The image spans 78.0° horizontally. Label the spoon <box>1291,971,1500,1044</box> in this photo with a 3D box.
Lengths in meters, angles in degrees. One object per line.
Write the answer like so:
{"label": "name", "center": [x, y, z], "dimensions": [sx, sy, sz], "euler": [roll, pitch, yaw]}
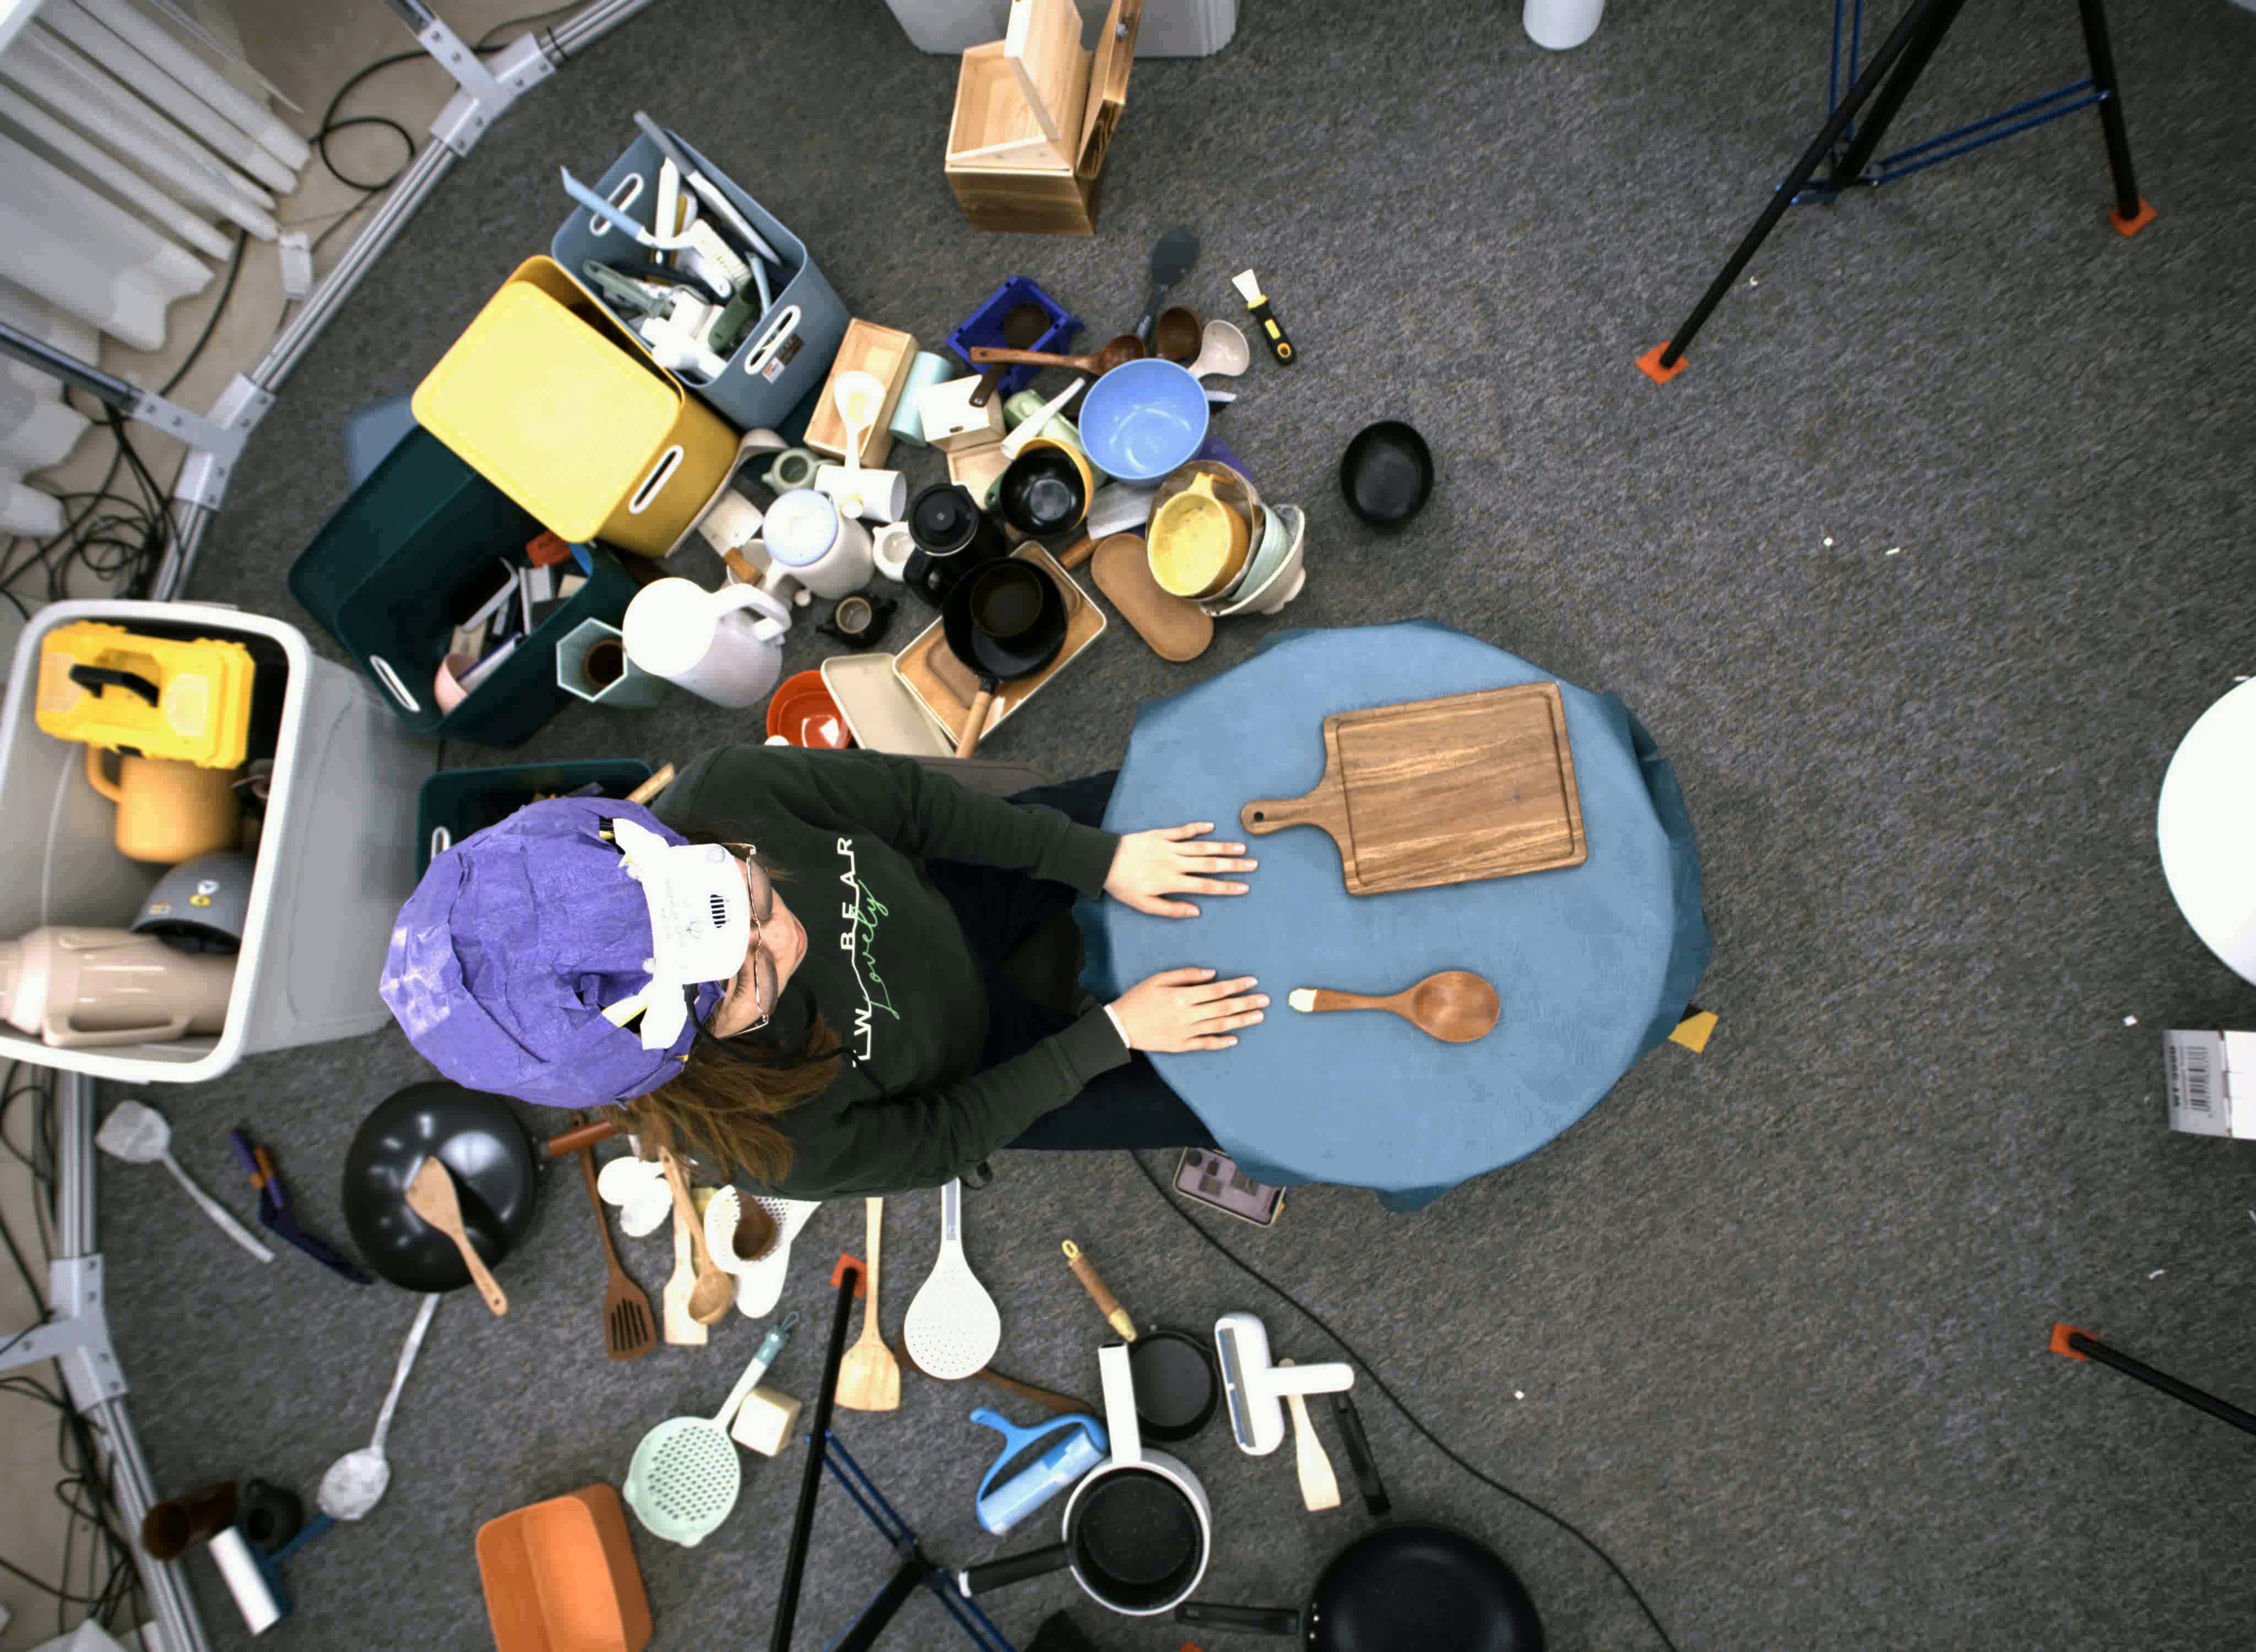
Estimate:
{"label": "spoon", "center": [0.279, 0.186, 1.446], "dimensions": [0.216, 0.017, 0.075], "euler": [1, 88, 10]}

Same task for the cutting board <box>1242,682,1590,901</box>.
{"label": "cutting board", "center": [0.295, -0.030, 1.458], "dimensions": [0.354, 0.023, 0.200], "euler": [-9, 85, 10]}
